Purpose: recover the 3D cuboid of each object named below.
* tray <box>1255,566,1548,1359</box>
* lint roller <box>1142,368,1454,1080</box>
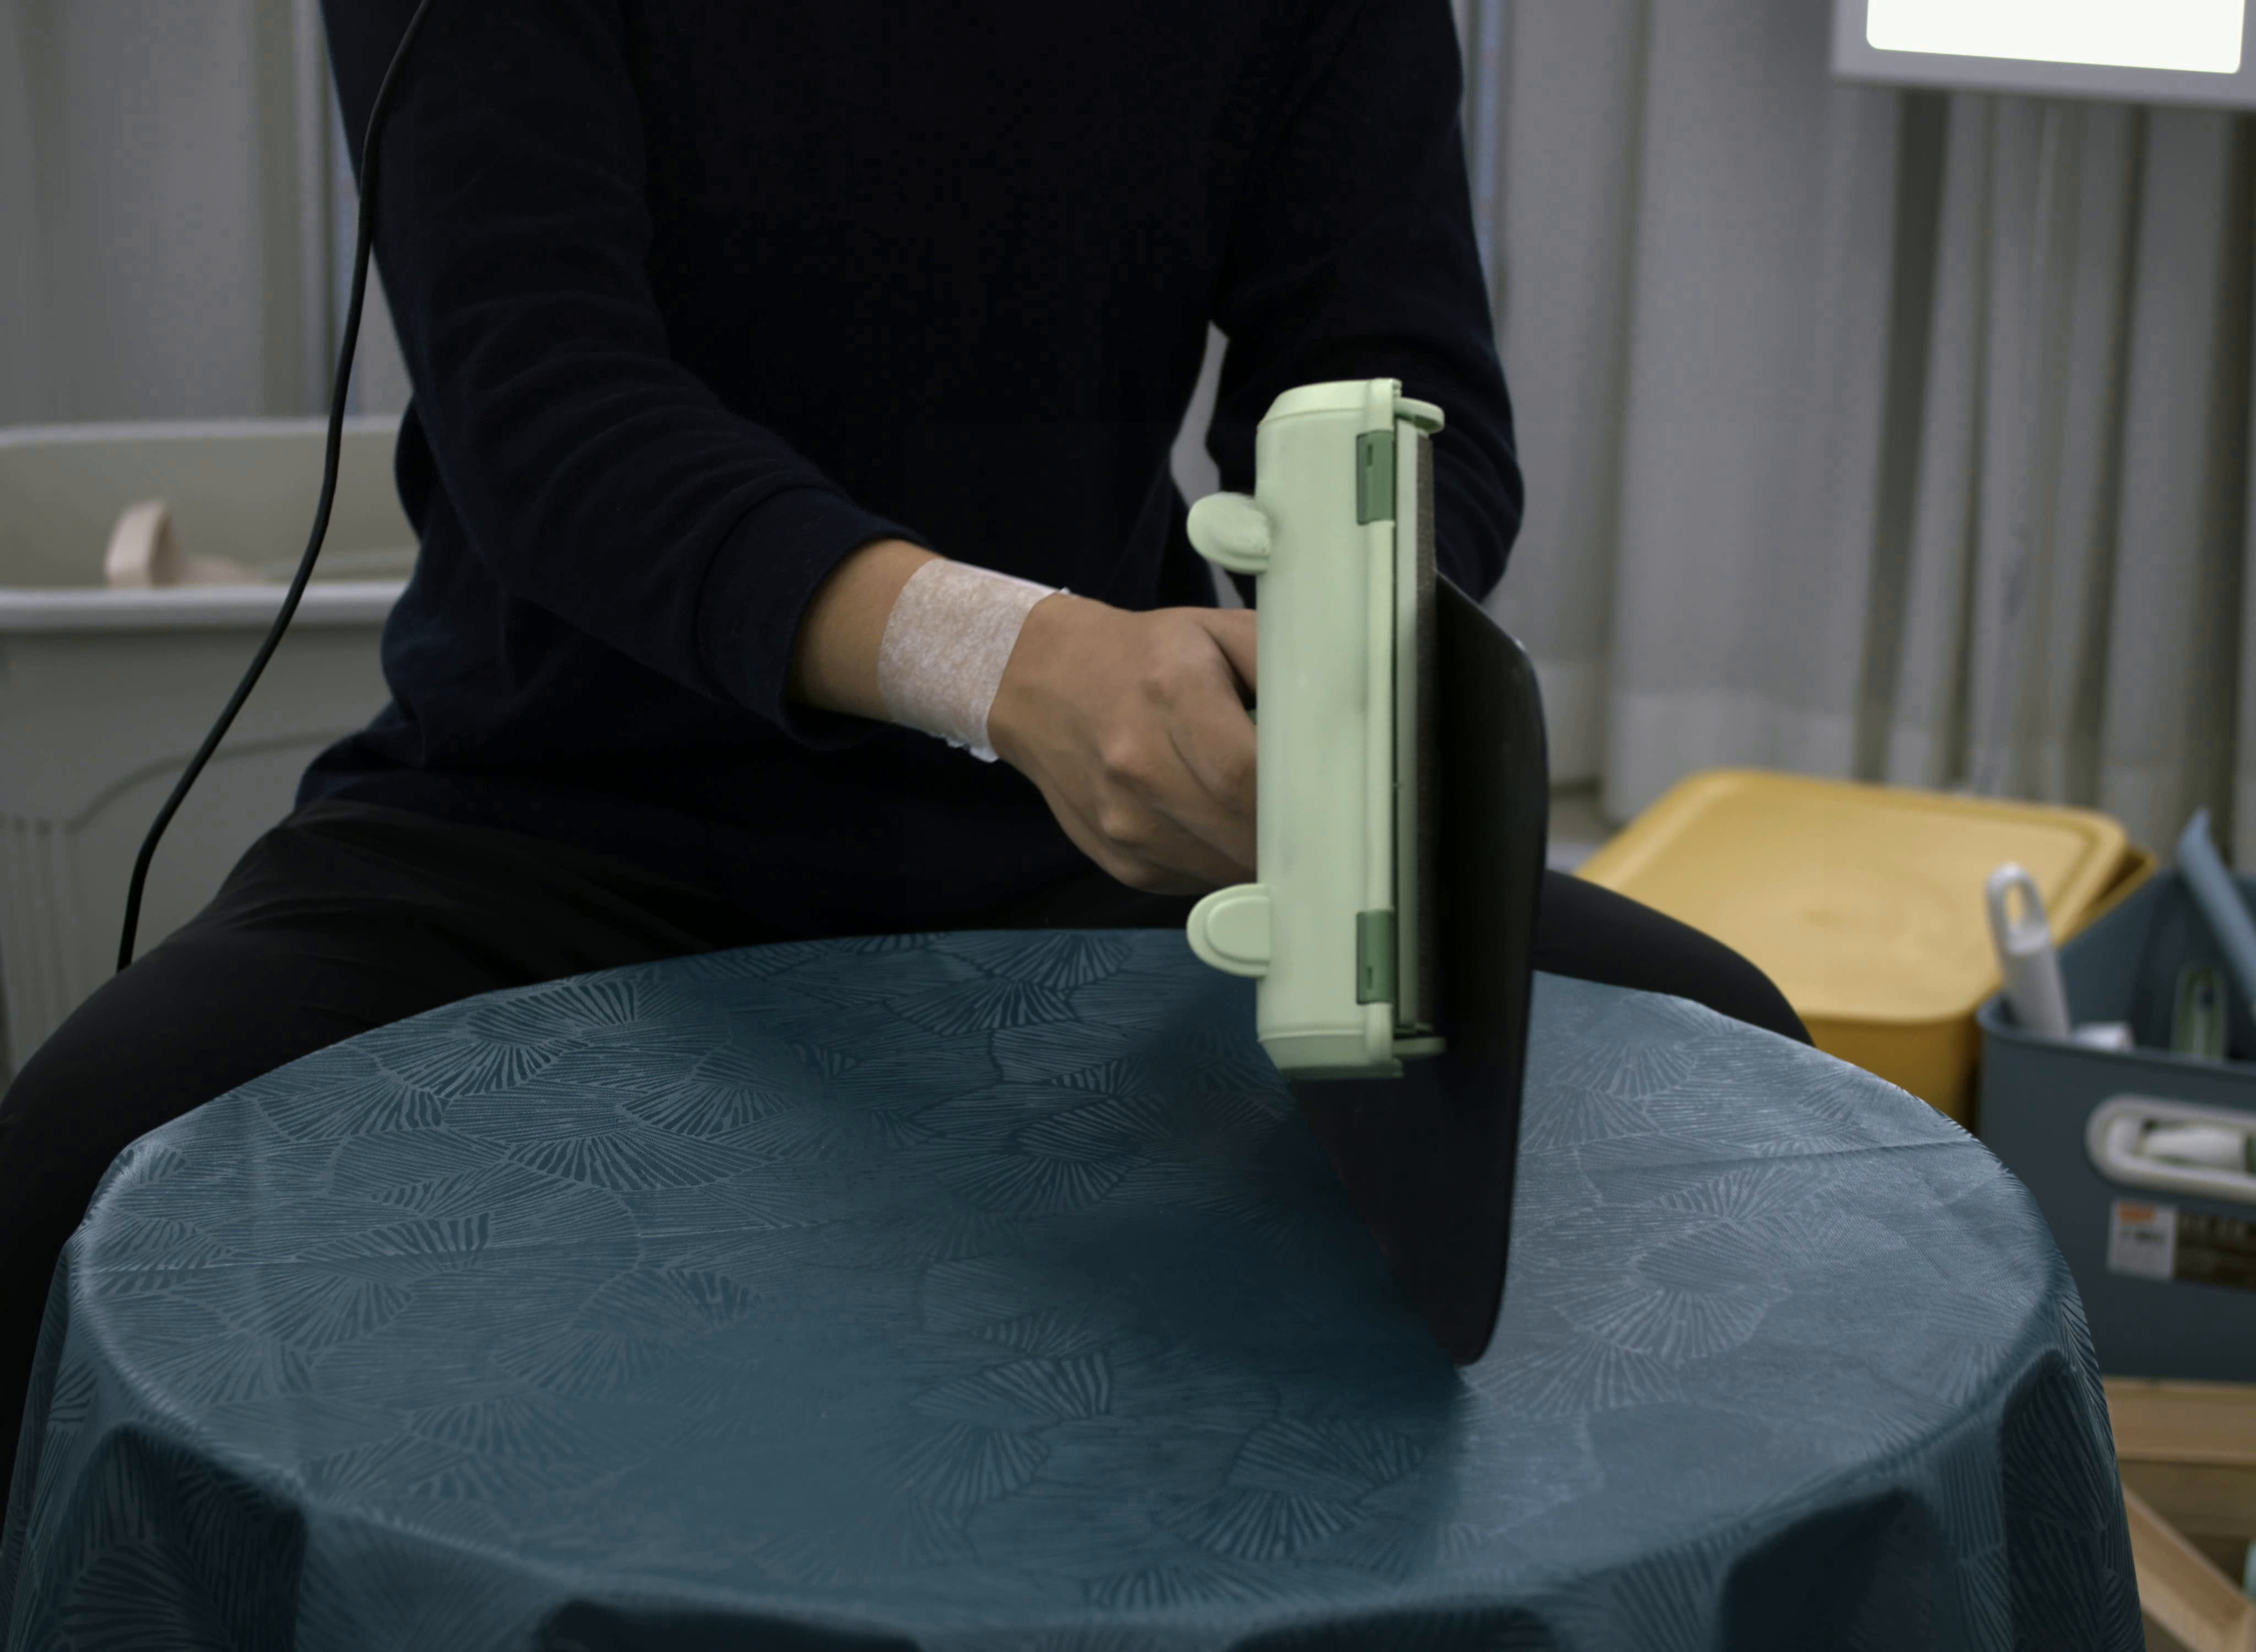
[{"bbox_3d":[0.076,0.016,1.571,0.010,0.213,0.322,1,15,-12],"label":"tray"},{"bbox_3d":[0.029,-0.022,1.528,0.083,0.199,0.182,4,-8,-29],"label":"lint roller"}]
